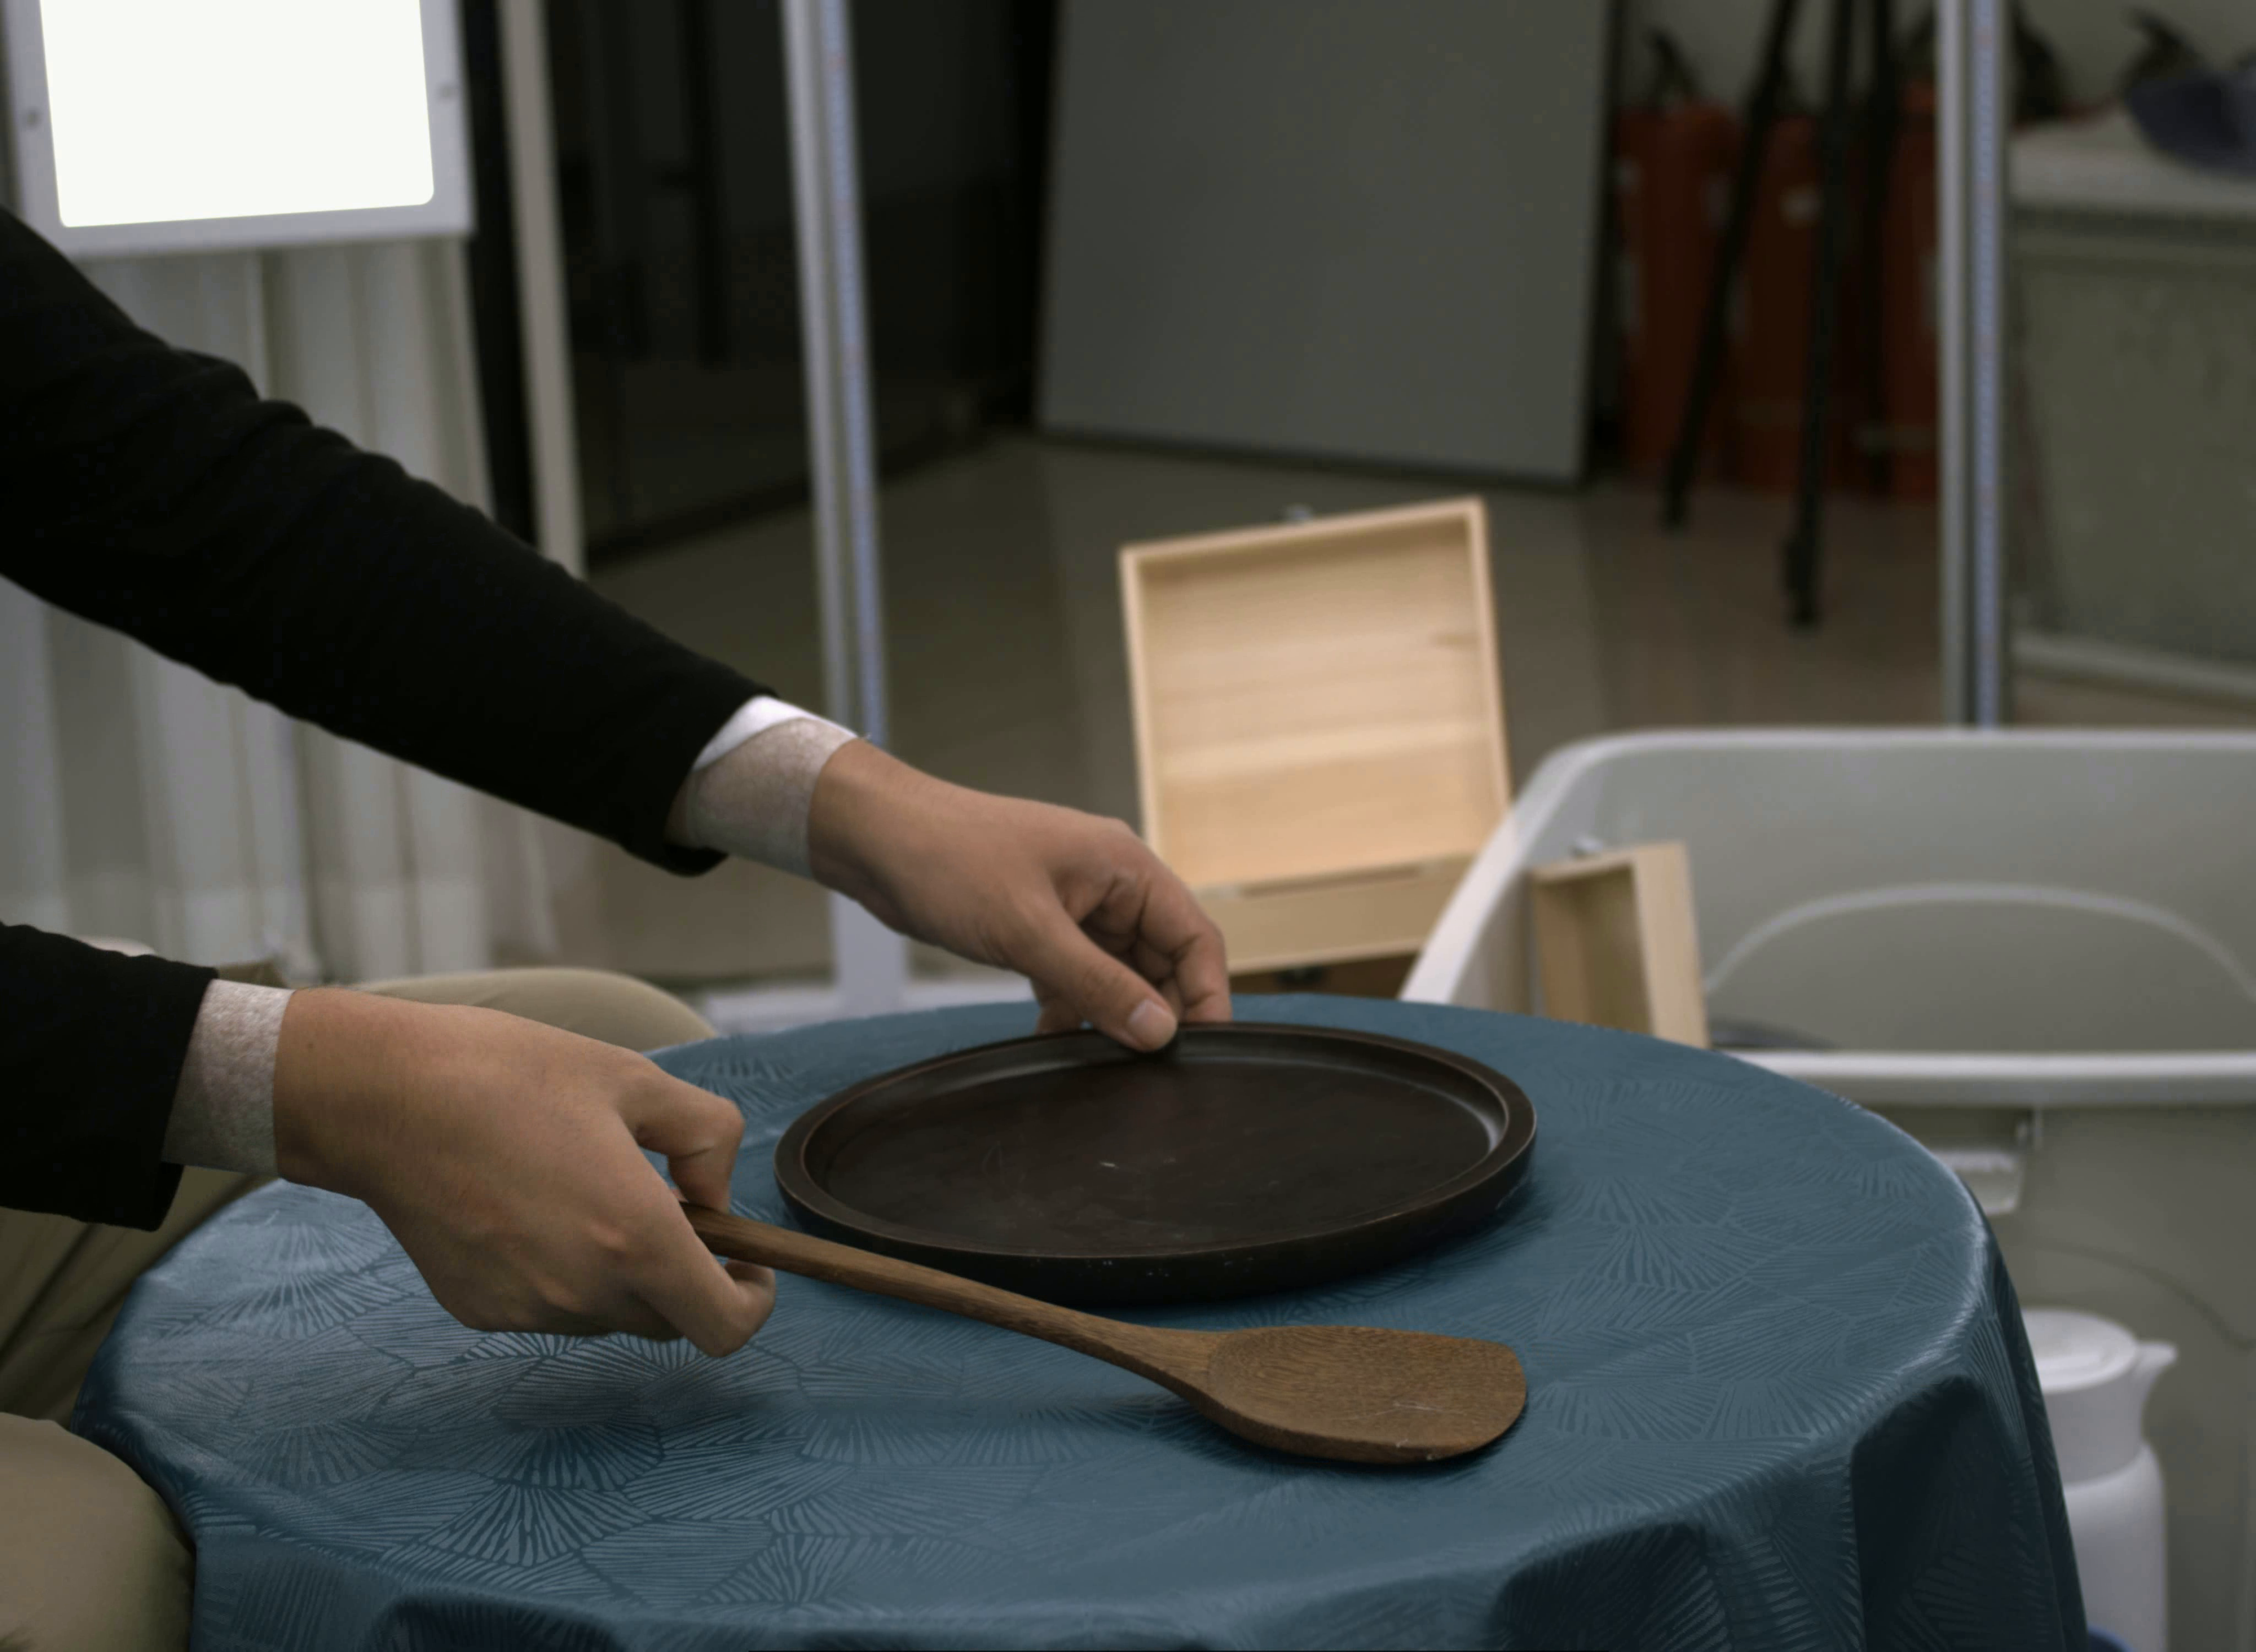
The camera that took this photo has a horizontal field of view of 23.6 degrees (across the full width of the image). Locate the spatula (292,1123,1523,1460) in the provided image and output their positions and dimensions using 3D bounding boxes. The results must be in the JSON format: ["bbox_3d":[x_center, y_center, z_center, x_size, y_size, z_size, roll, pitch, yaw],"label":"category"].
[{"bbox_3d":[-0.070,0.132,1.587,0.384,0.016,0.095,12,17,15],"label":"spatula"}]

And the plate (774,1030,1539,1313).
[{"bbox_3d":[0.010,0.110,1.762,0.251,0.029,0.255,-5,15,0],"label":"plate"}]
